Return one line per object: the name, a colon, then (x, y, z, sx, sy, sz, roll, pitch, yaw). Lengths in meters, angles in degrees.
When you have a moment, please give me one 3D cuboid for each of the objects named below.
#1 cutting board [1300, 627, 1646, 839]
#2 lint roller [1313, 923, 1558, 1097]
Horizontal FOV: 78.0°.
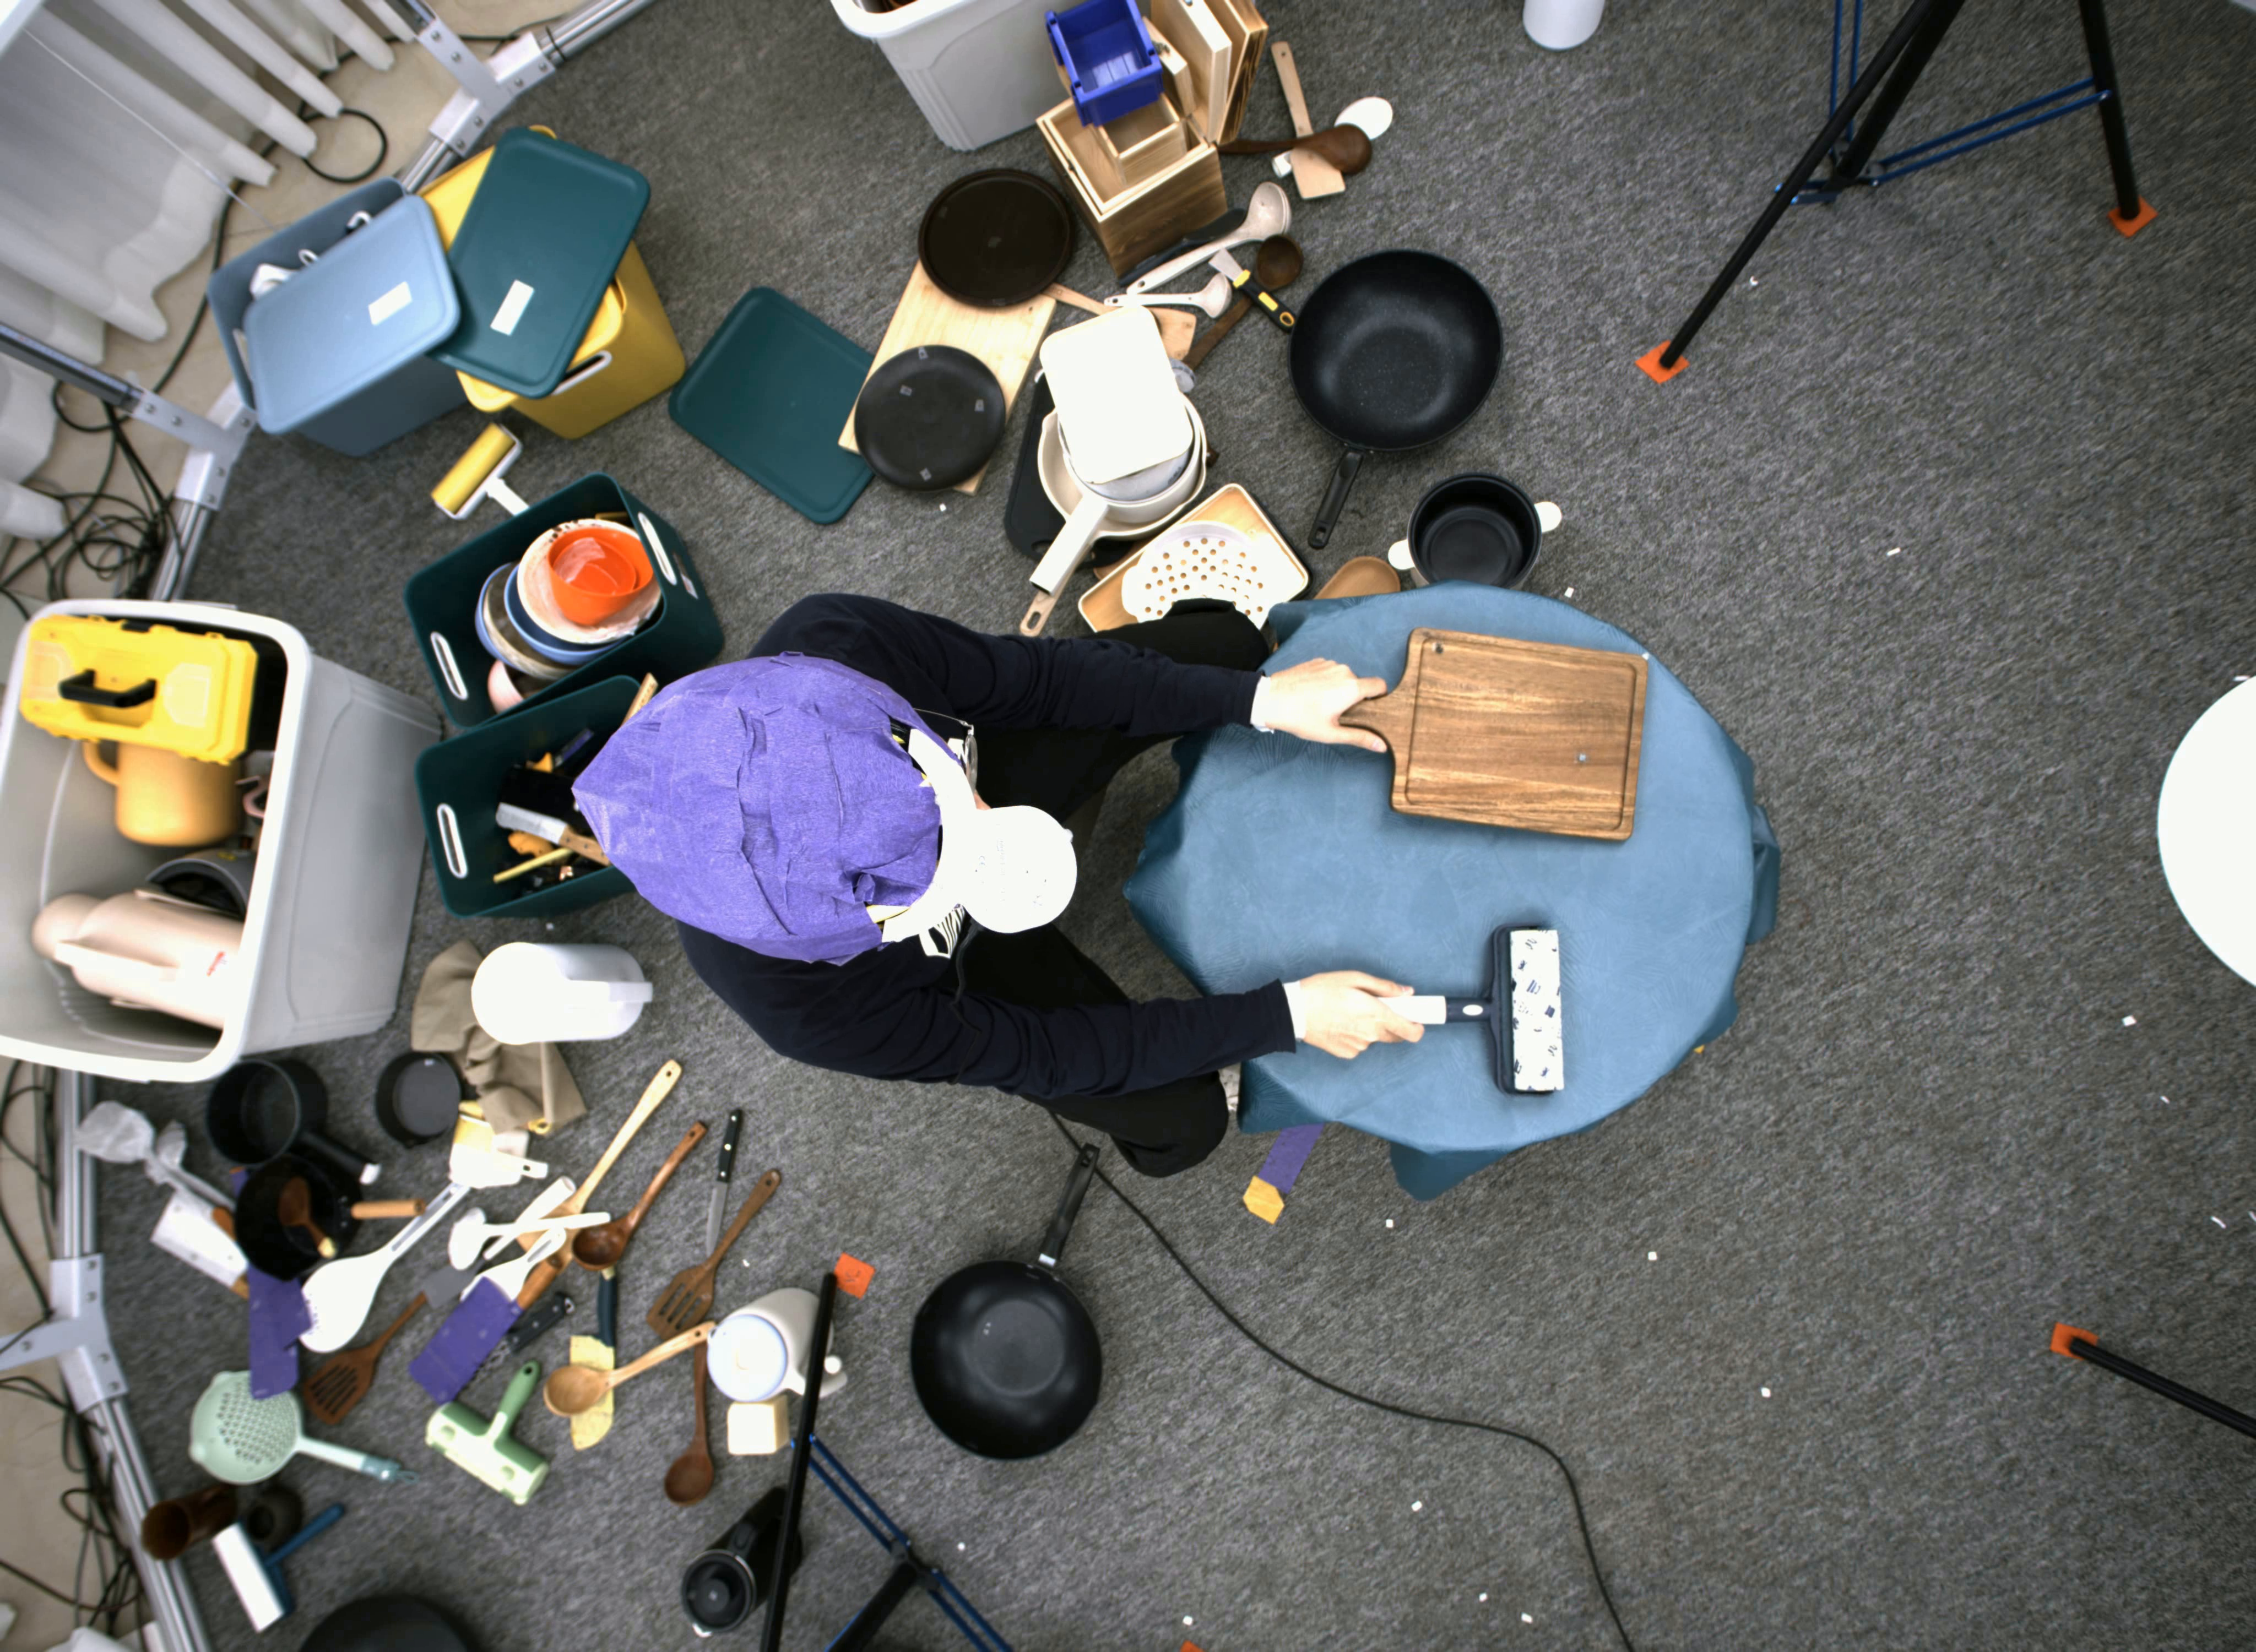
cutting board: (0.354, -0.104, 1.417, 0.353, 0.023, 0.200, 7, 87, 2)
lint roller: (0.314, 0.188, 1.416, 0.248, 0.050, 0.175, -2, 88, 8)
